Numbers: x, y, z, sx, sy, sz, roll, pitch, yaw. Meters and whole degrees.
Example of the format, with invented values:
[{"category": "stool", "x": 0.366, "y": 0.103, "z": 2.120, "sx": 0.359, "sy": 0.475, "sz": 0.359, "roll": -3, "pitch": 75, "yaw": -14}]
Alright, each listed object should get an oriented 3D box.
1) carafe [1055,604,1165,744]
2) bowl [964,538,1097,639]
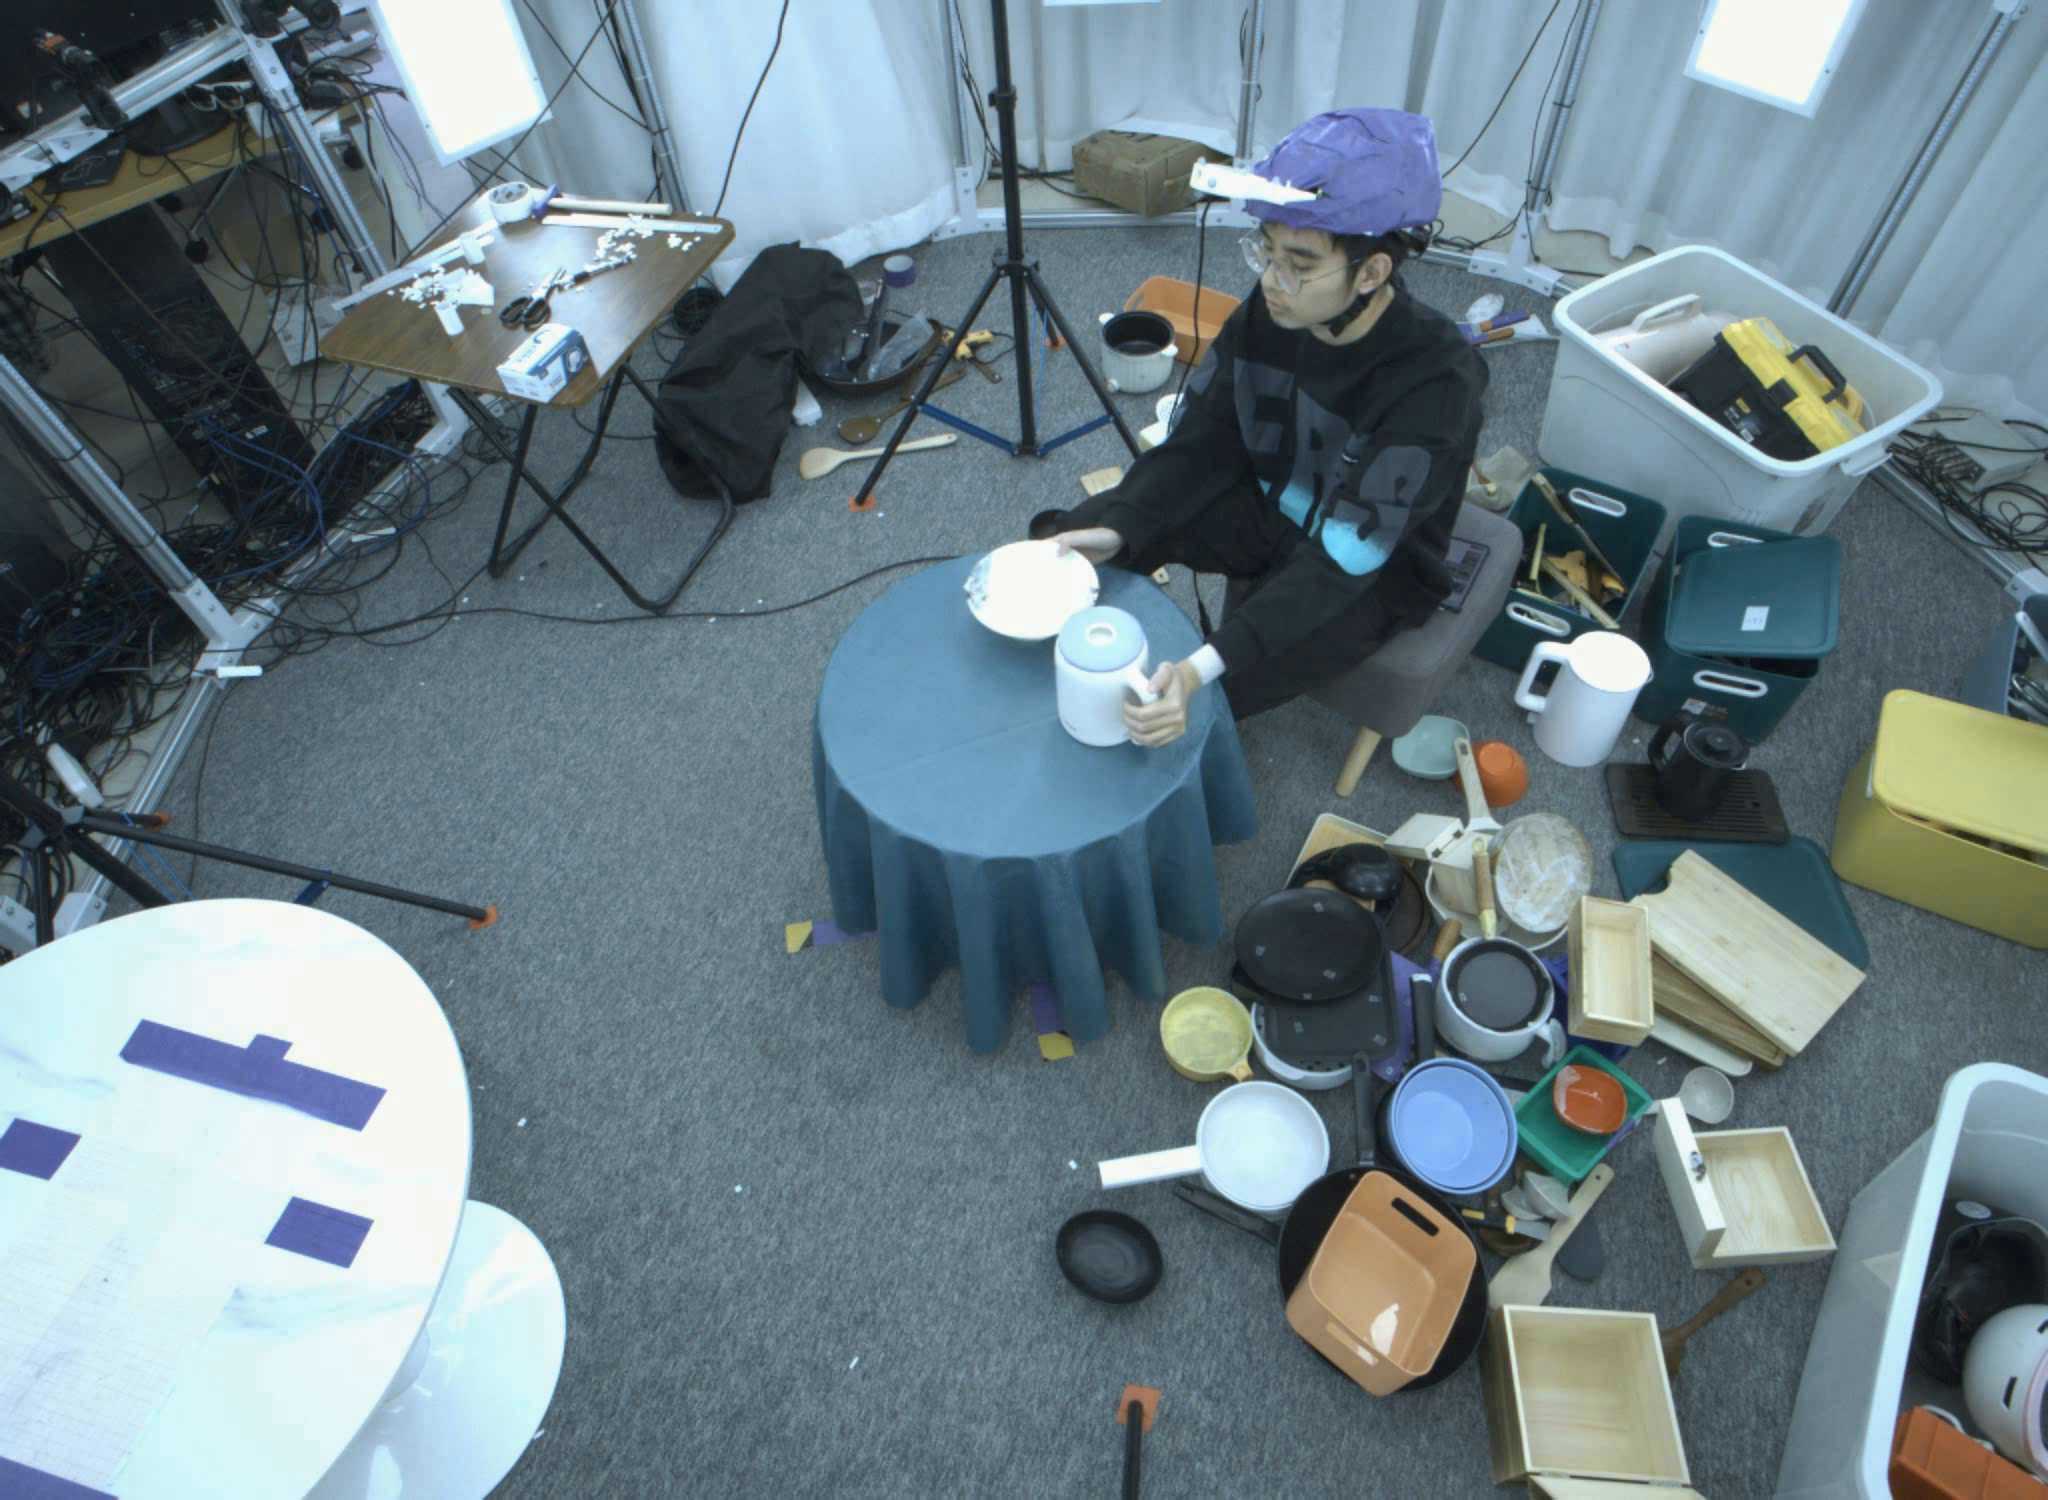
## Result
[{"category": "carafe", "x": 0.127, "y": -0.091, "z": 1.738, "sx": 0.133, "sy": 0.184, "sz": 0.188, "roll": -38, "pitch": 63, "yaw": -20}, {"category": "bowl", "x": 0.010, "y": -0.229, "z": 1.896, "sx": 0.204, "sy": 0.079, "sz": 0.202, "roll": 1, "pitch": 54, "yaw": 0}]
